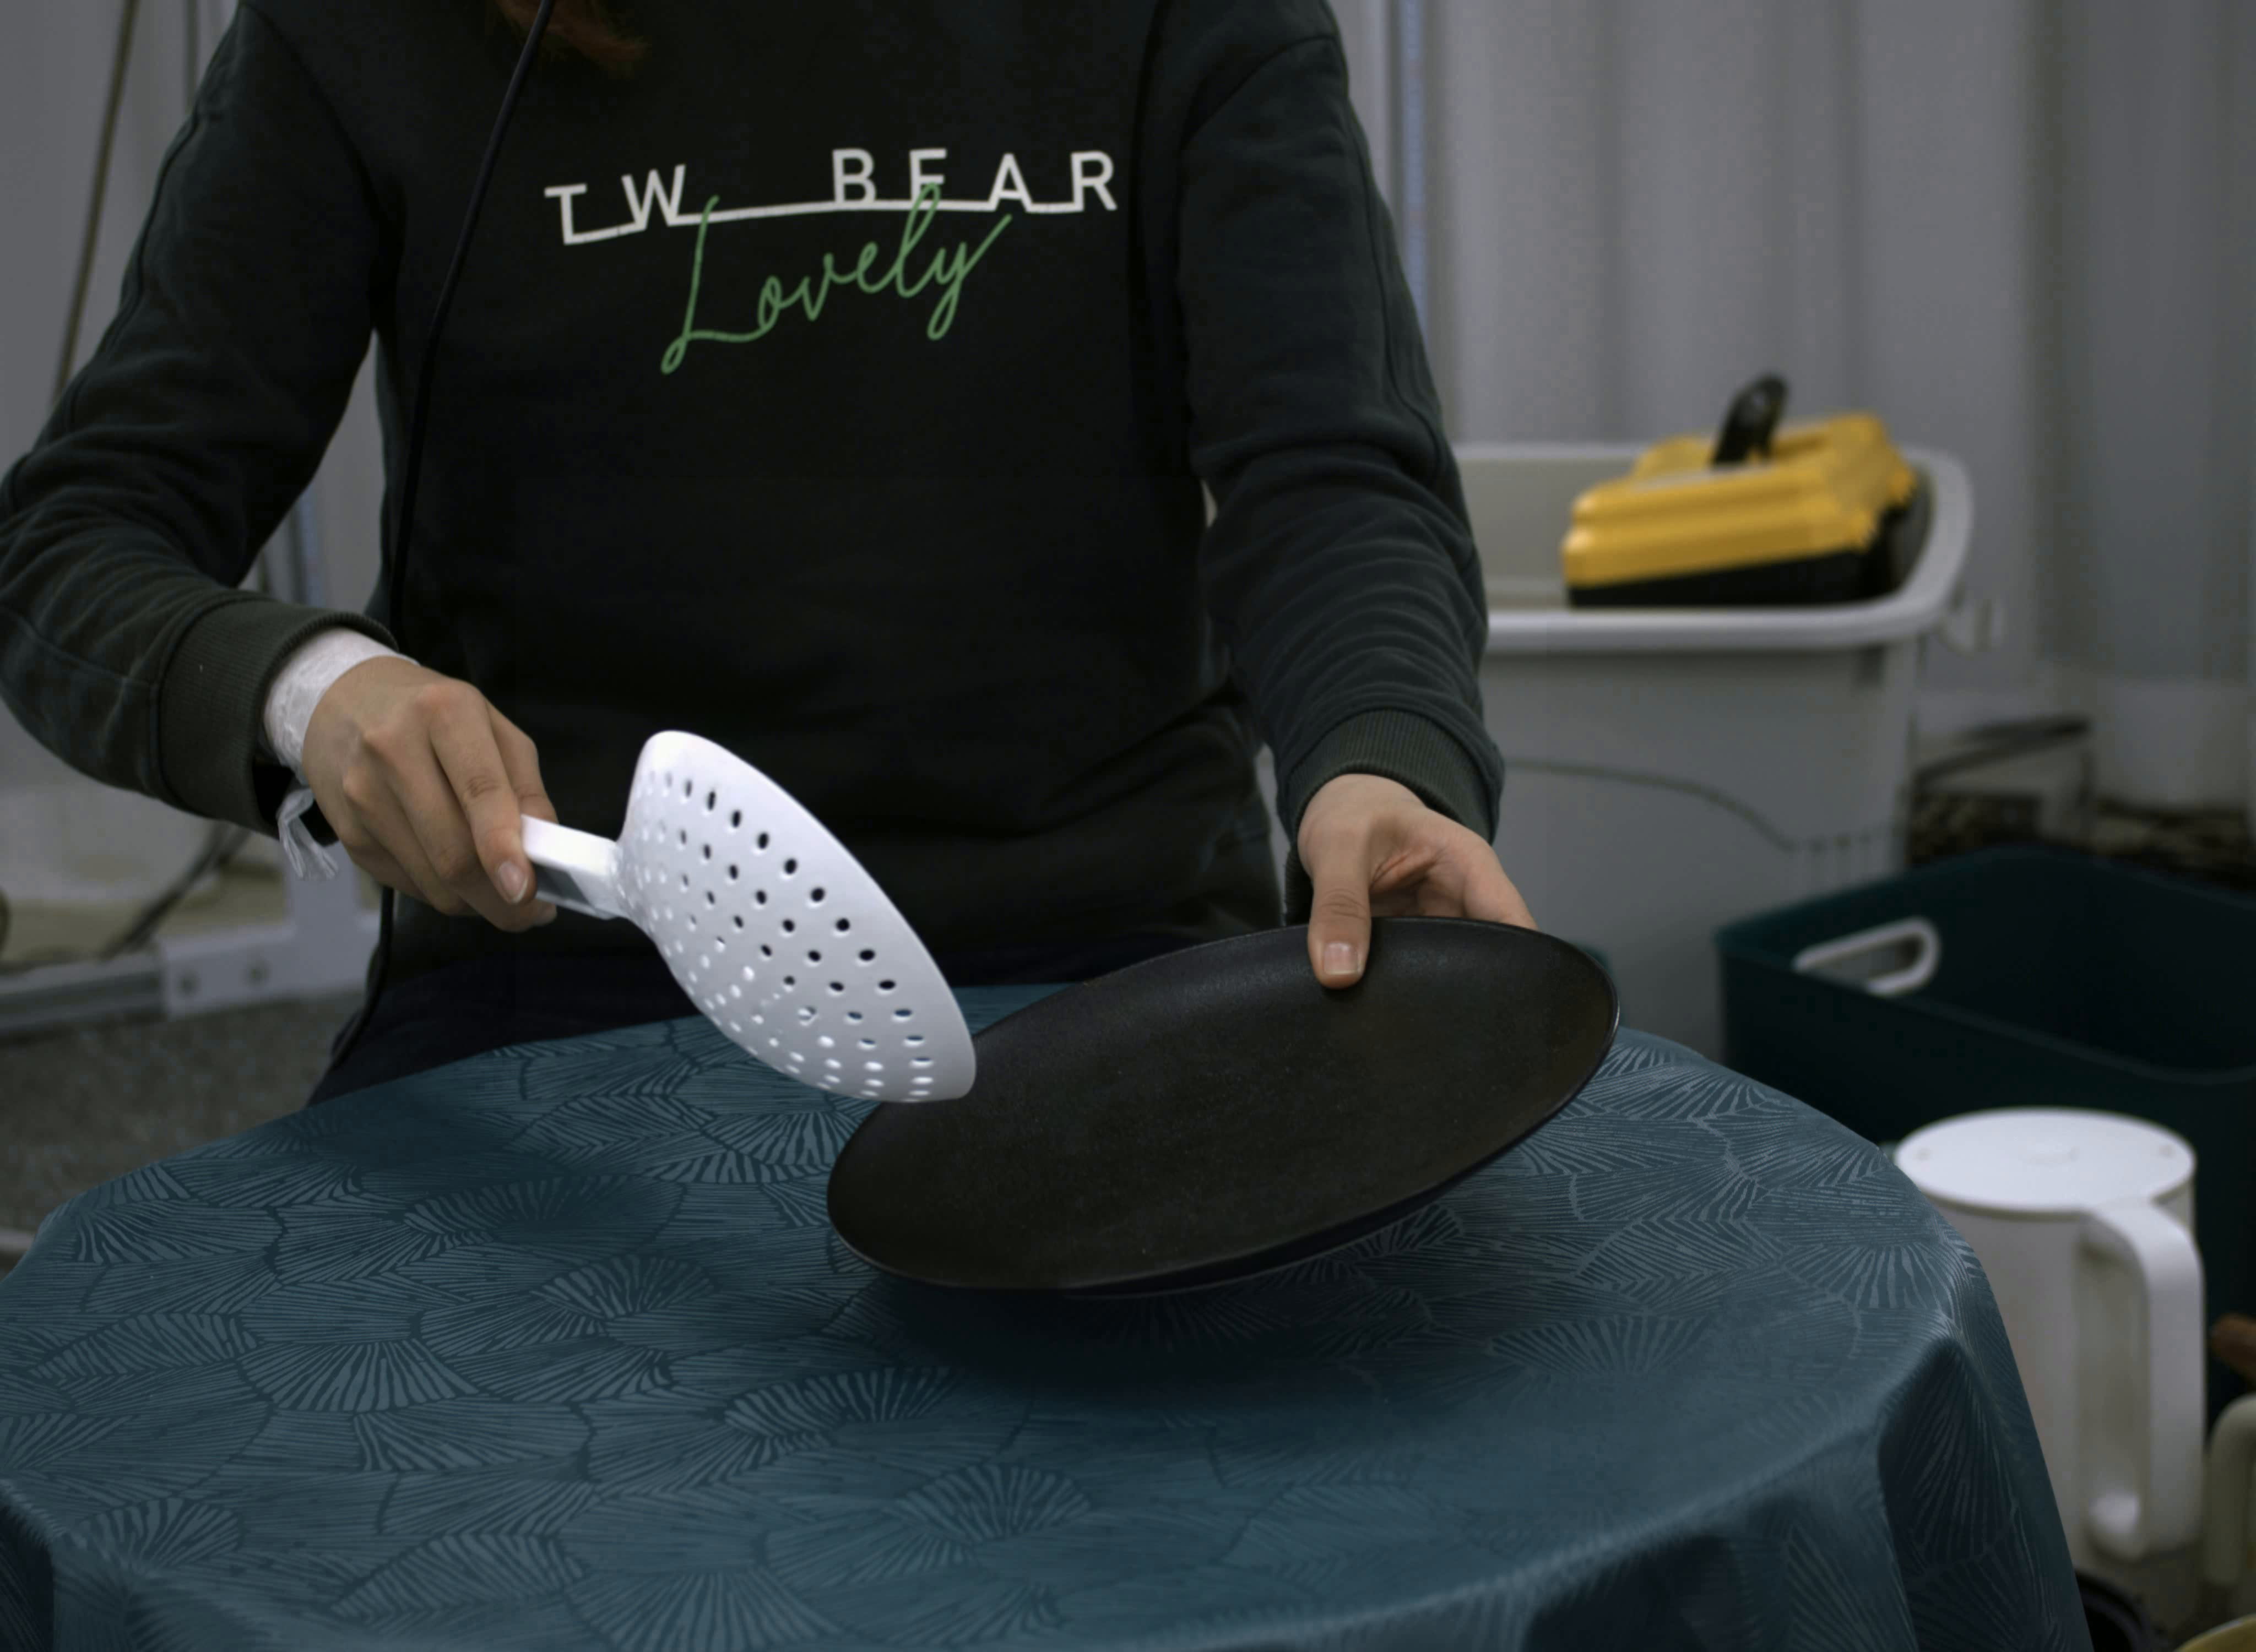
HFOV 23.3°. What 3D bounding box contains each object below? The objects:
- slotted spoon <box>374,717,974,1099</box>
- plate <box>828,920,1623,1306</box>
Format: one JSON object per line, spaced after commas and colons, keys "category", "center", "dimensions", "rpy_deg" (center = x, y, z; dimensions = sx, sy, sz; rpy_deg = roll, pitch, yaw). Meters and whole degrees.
{"category": "slotted spoon", "center": [-0.151, 0.017, 1.658], "dimensions": [0.046, 0.135, 0.352], "rpy_deg": [-38, 23, -16]}
{"category": "plate", "center": [0.030, 0.089, 1.623], "dimensions": [0.244, 0.023, 0.246], "rpy_deg": [-14, 19, 5]}
